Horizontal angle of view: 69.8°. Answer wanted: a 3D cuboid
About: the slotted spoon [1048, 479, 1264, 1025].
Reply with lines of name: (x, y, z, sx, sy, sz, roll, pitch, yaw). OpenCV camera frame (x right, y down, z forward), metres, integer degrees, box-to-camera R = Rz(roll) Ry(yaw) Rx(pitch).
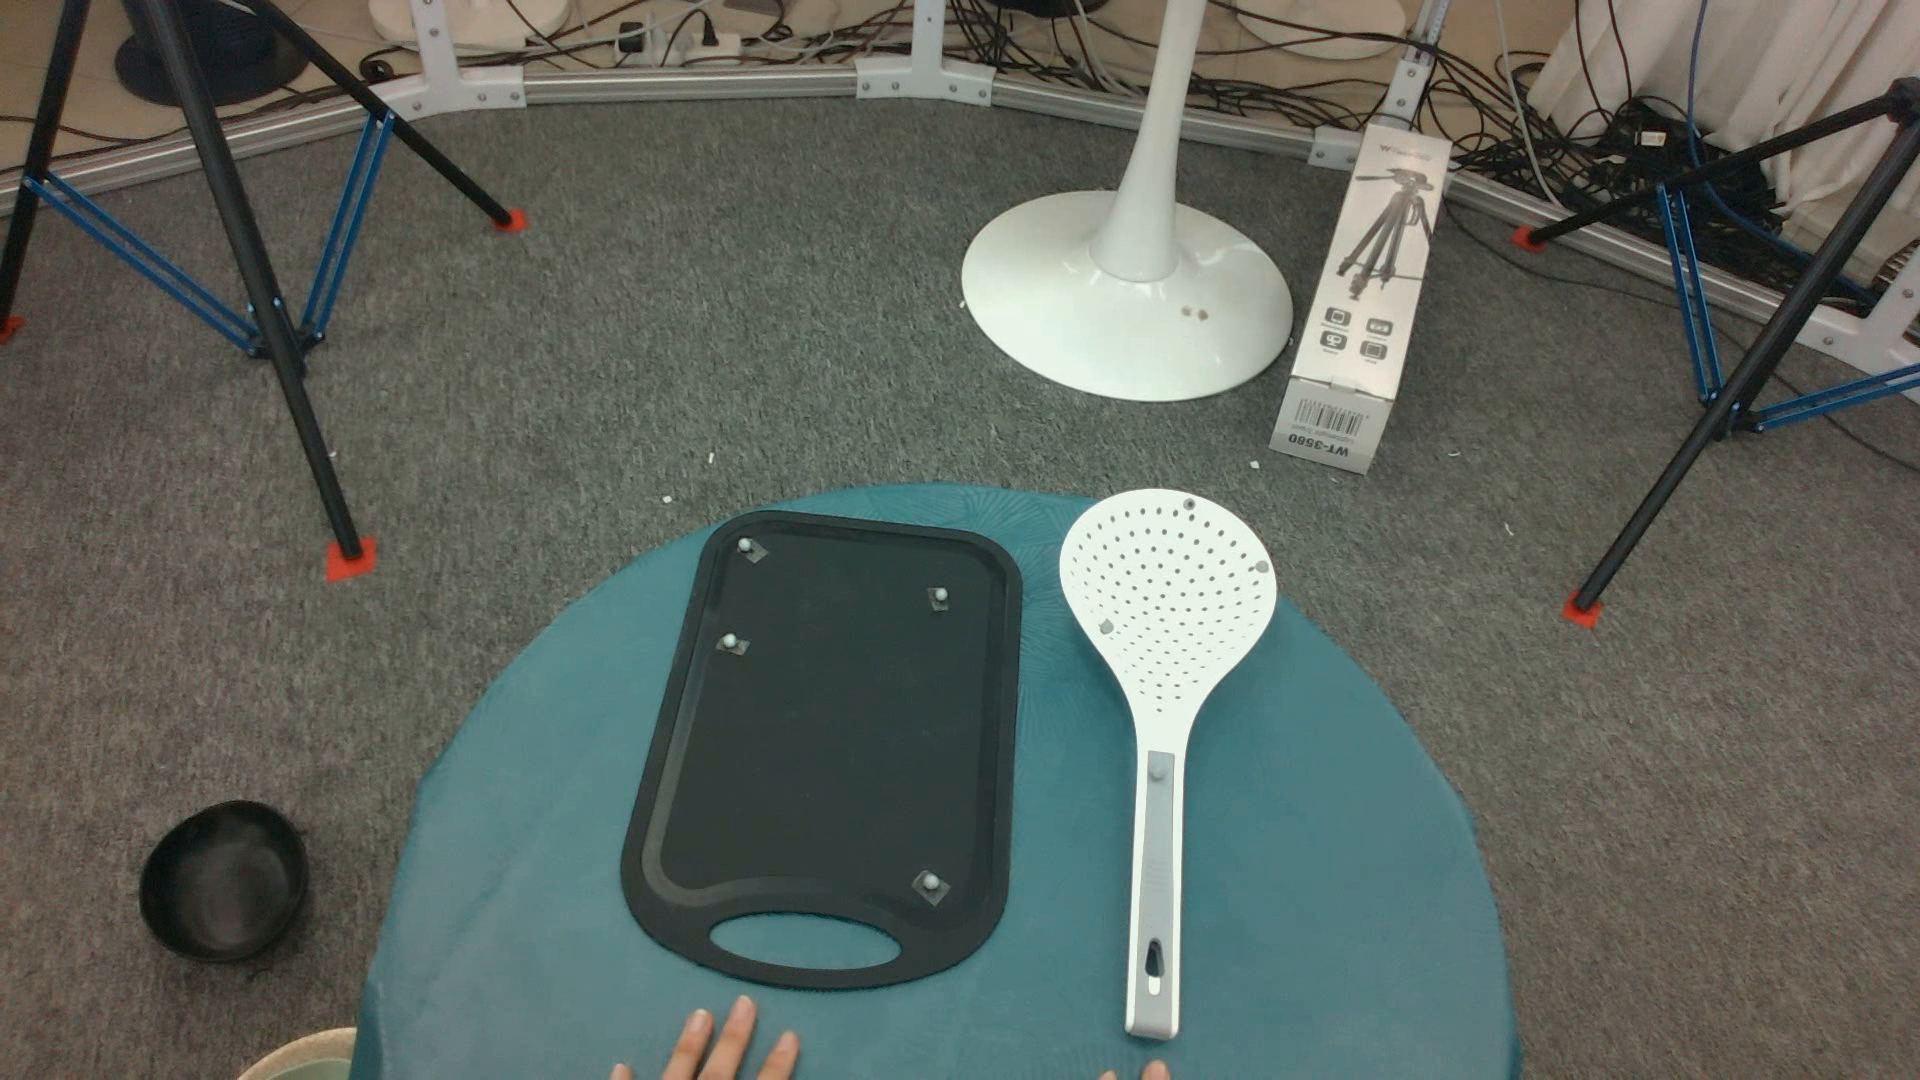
slotted spoon: (0.109, 0.106, 0.803, 0.136, 0.045, 0.351, 7, 49, 2)

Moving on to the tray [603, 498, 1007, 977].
tray: (-0.080, 0.099, 0.809, 0.211, 0.010, 0.327, 6, 48, -2)
